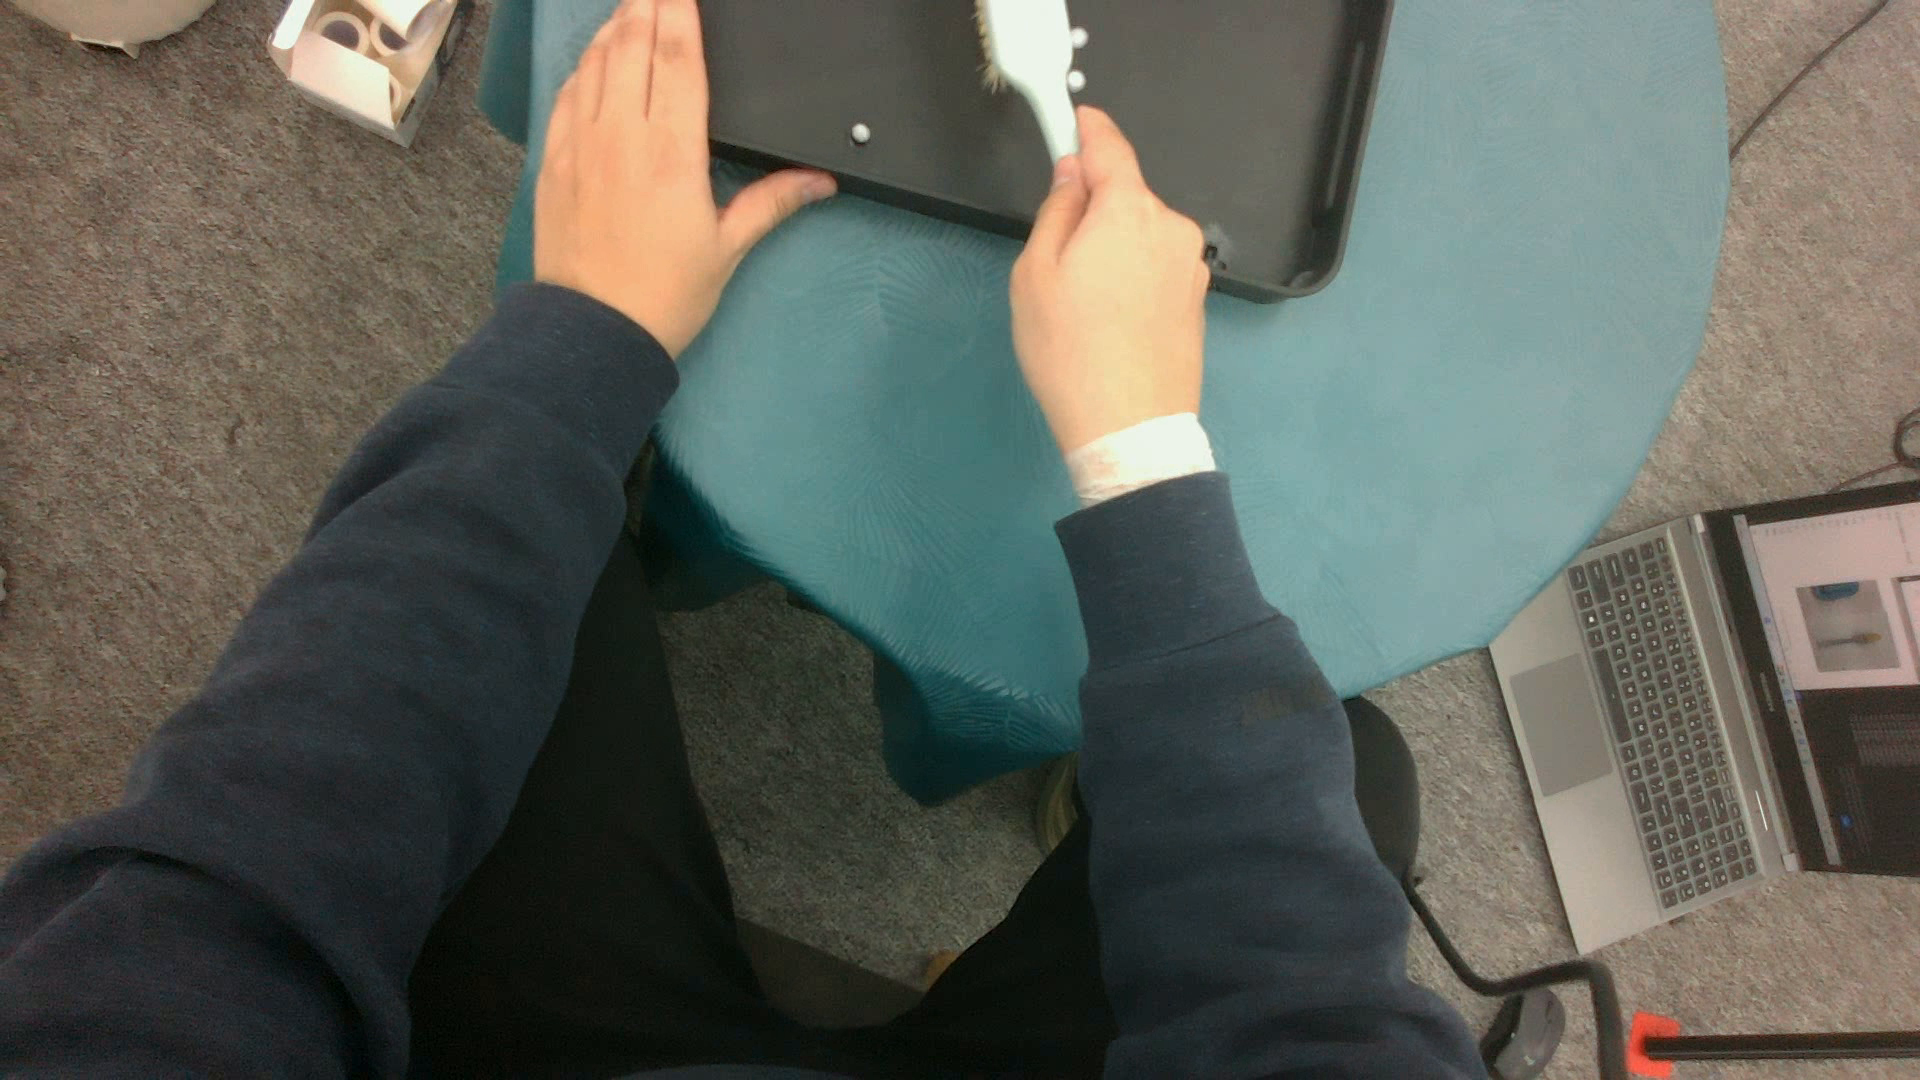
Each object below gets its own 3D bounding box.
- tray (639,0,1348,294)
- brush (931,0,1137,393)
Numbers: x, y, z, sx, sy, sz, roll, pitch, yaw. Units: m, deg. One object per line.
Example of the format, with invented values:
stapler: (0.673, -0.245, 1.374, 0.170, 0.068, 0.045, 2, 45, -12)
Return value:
tray: (0.022, -0.227, 0.644, 0.318, 0.037, 0.184, 8, 87, -10)
brush: (0.031, -0.170, 0.608, 0.038, 0.049, 0.229, -17, 79, -15)
